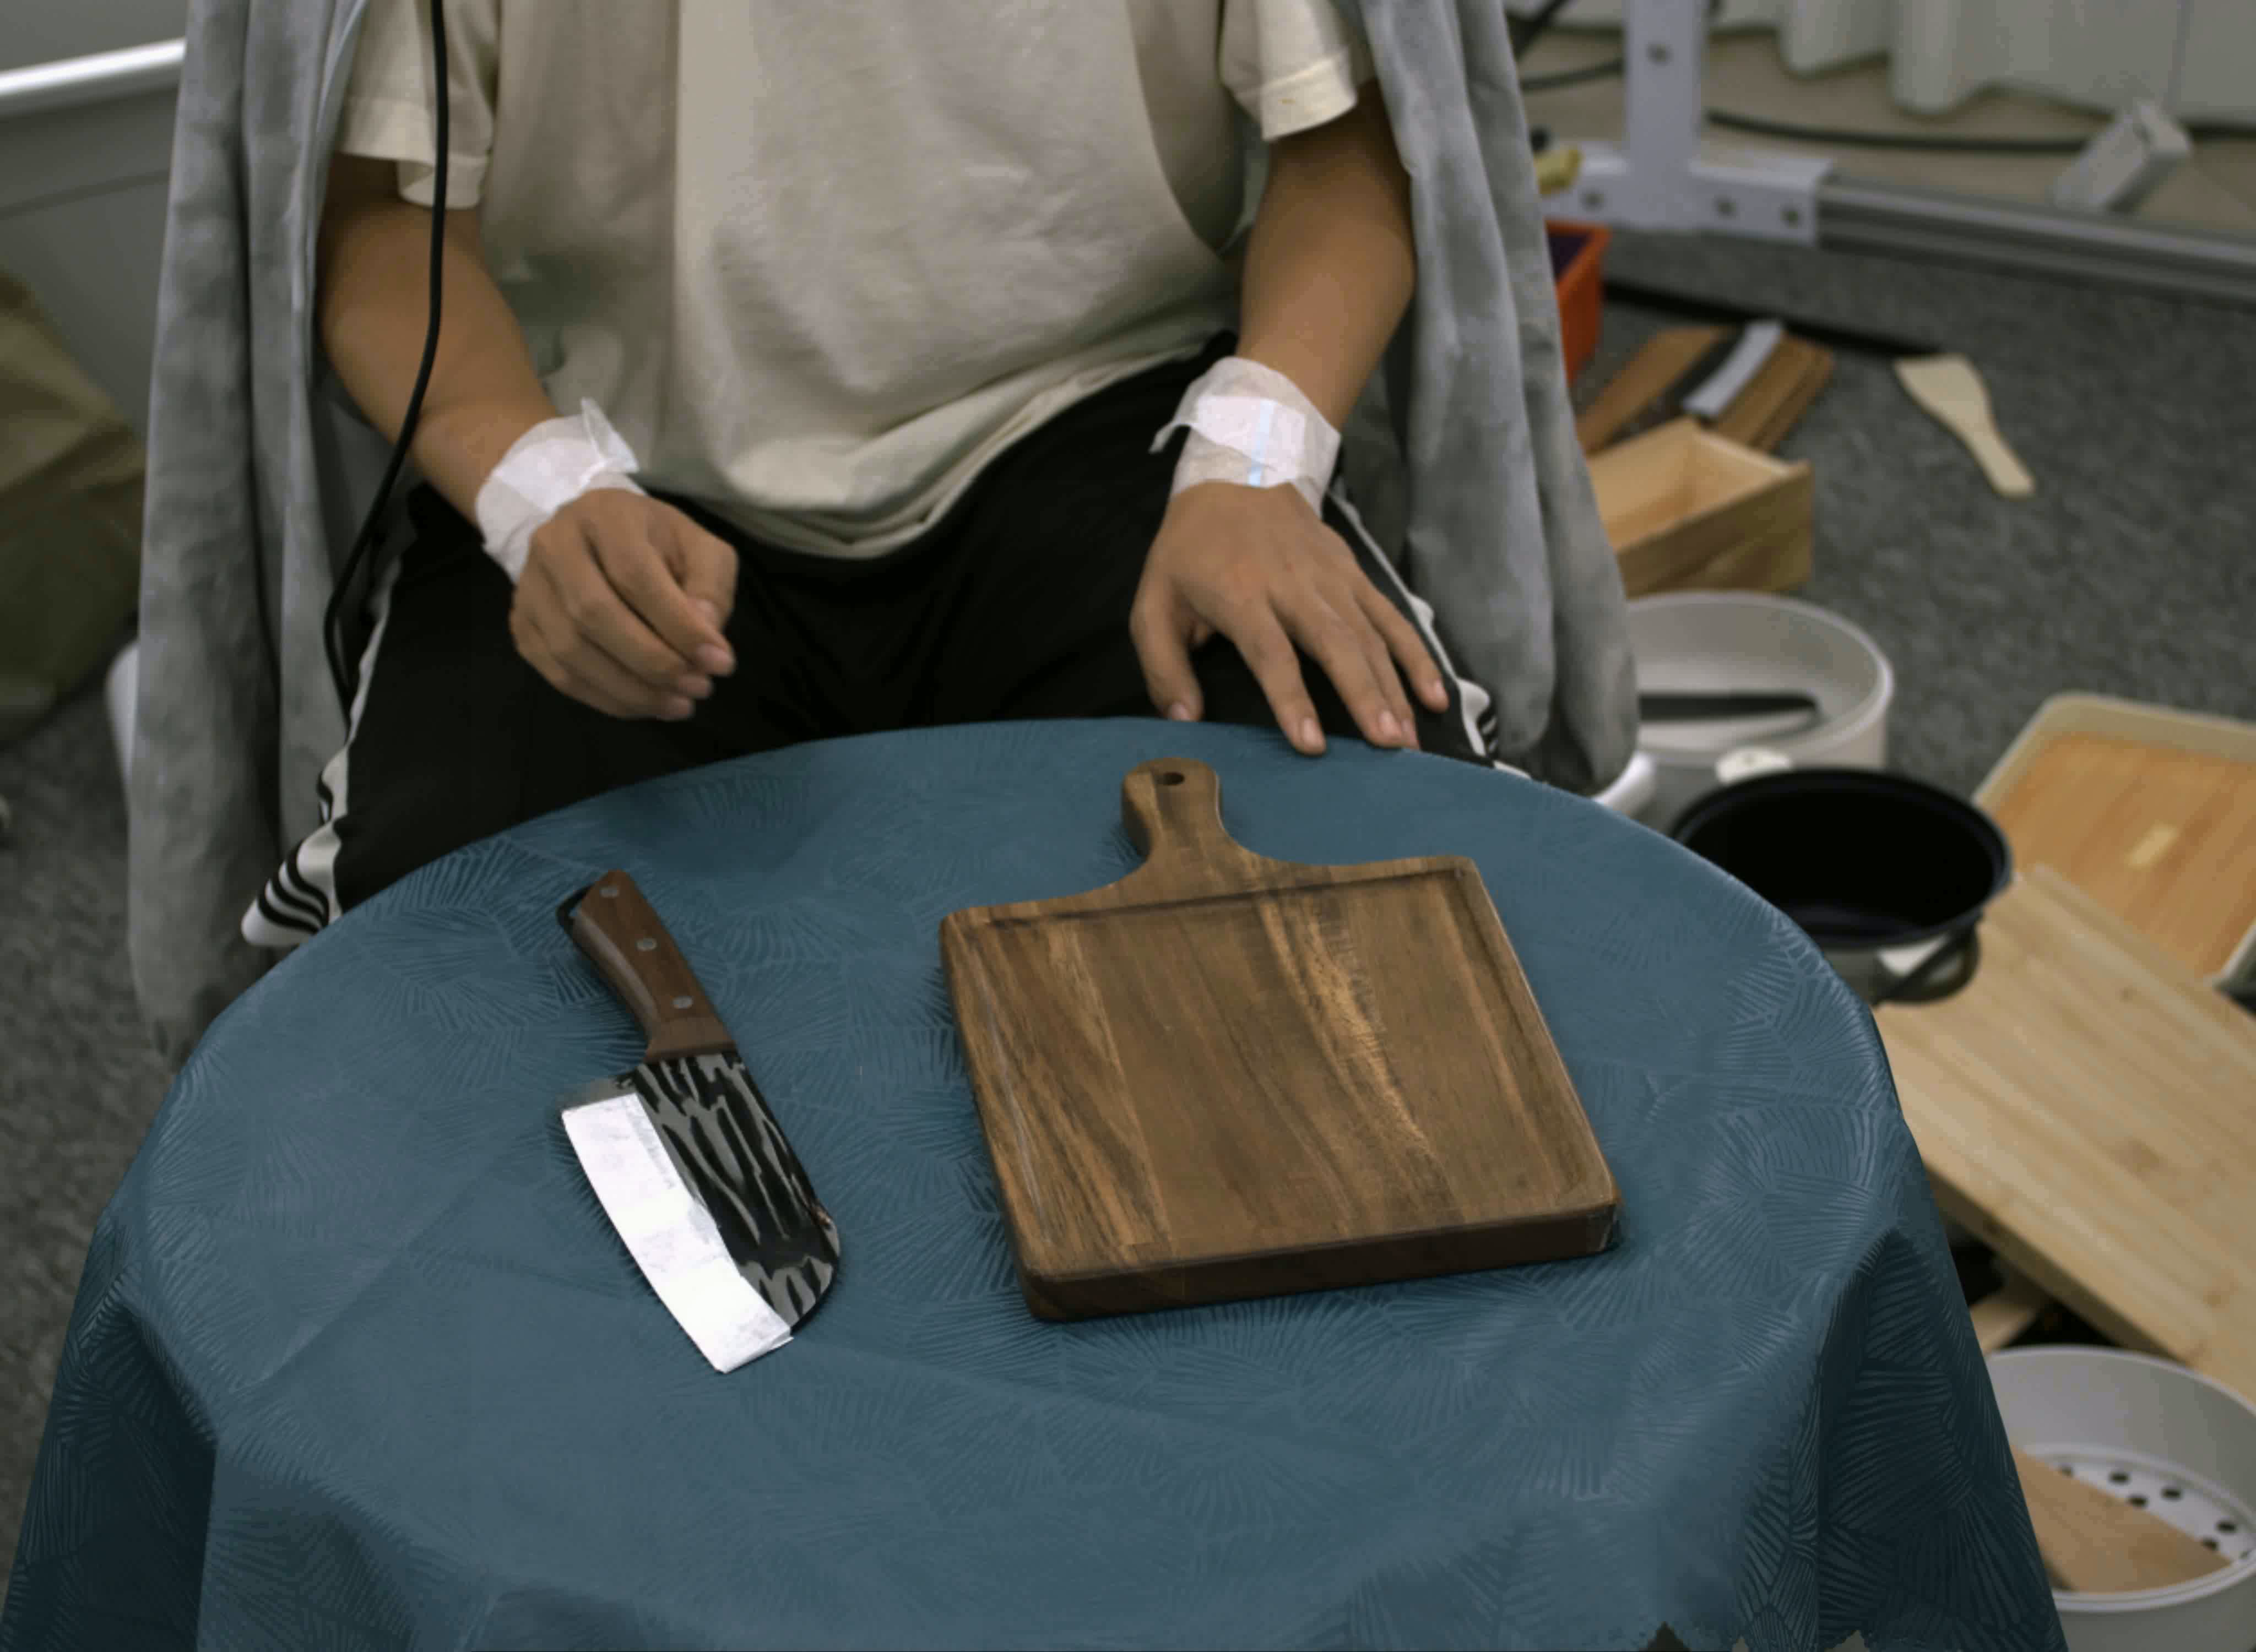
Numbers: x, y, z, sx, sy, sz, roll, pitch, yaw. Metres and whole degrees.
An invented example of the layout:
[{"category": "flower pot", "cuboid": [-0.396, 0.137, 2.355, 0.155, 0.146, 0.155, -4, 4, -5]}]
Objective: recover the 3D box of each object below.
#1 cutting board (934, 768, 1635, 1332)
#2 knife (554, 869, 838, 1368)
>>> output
[{"category": "cutting board", "cuboid": [0.040, 0.064, 1.951, 0.200, 0.023, 0.356, -8, 27, -6]}, {"category": "knife", "cuboid": [-0.156, 0.097, 1.903, 0.068, 0.023, 0.302, -13, 31, -14]}]
